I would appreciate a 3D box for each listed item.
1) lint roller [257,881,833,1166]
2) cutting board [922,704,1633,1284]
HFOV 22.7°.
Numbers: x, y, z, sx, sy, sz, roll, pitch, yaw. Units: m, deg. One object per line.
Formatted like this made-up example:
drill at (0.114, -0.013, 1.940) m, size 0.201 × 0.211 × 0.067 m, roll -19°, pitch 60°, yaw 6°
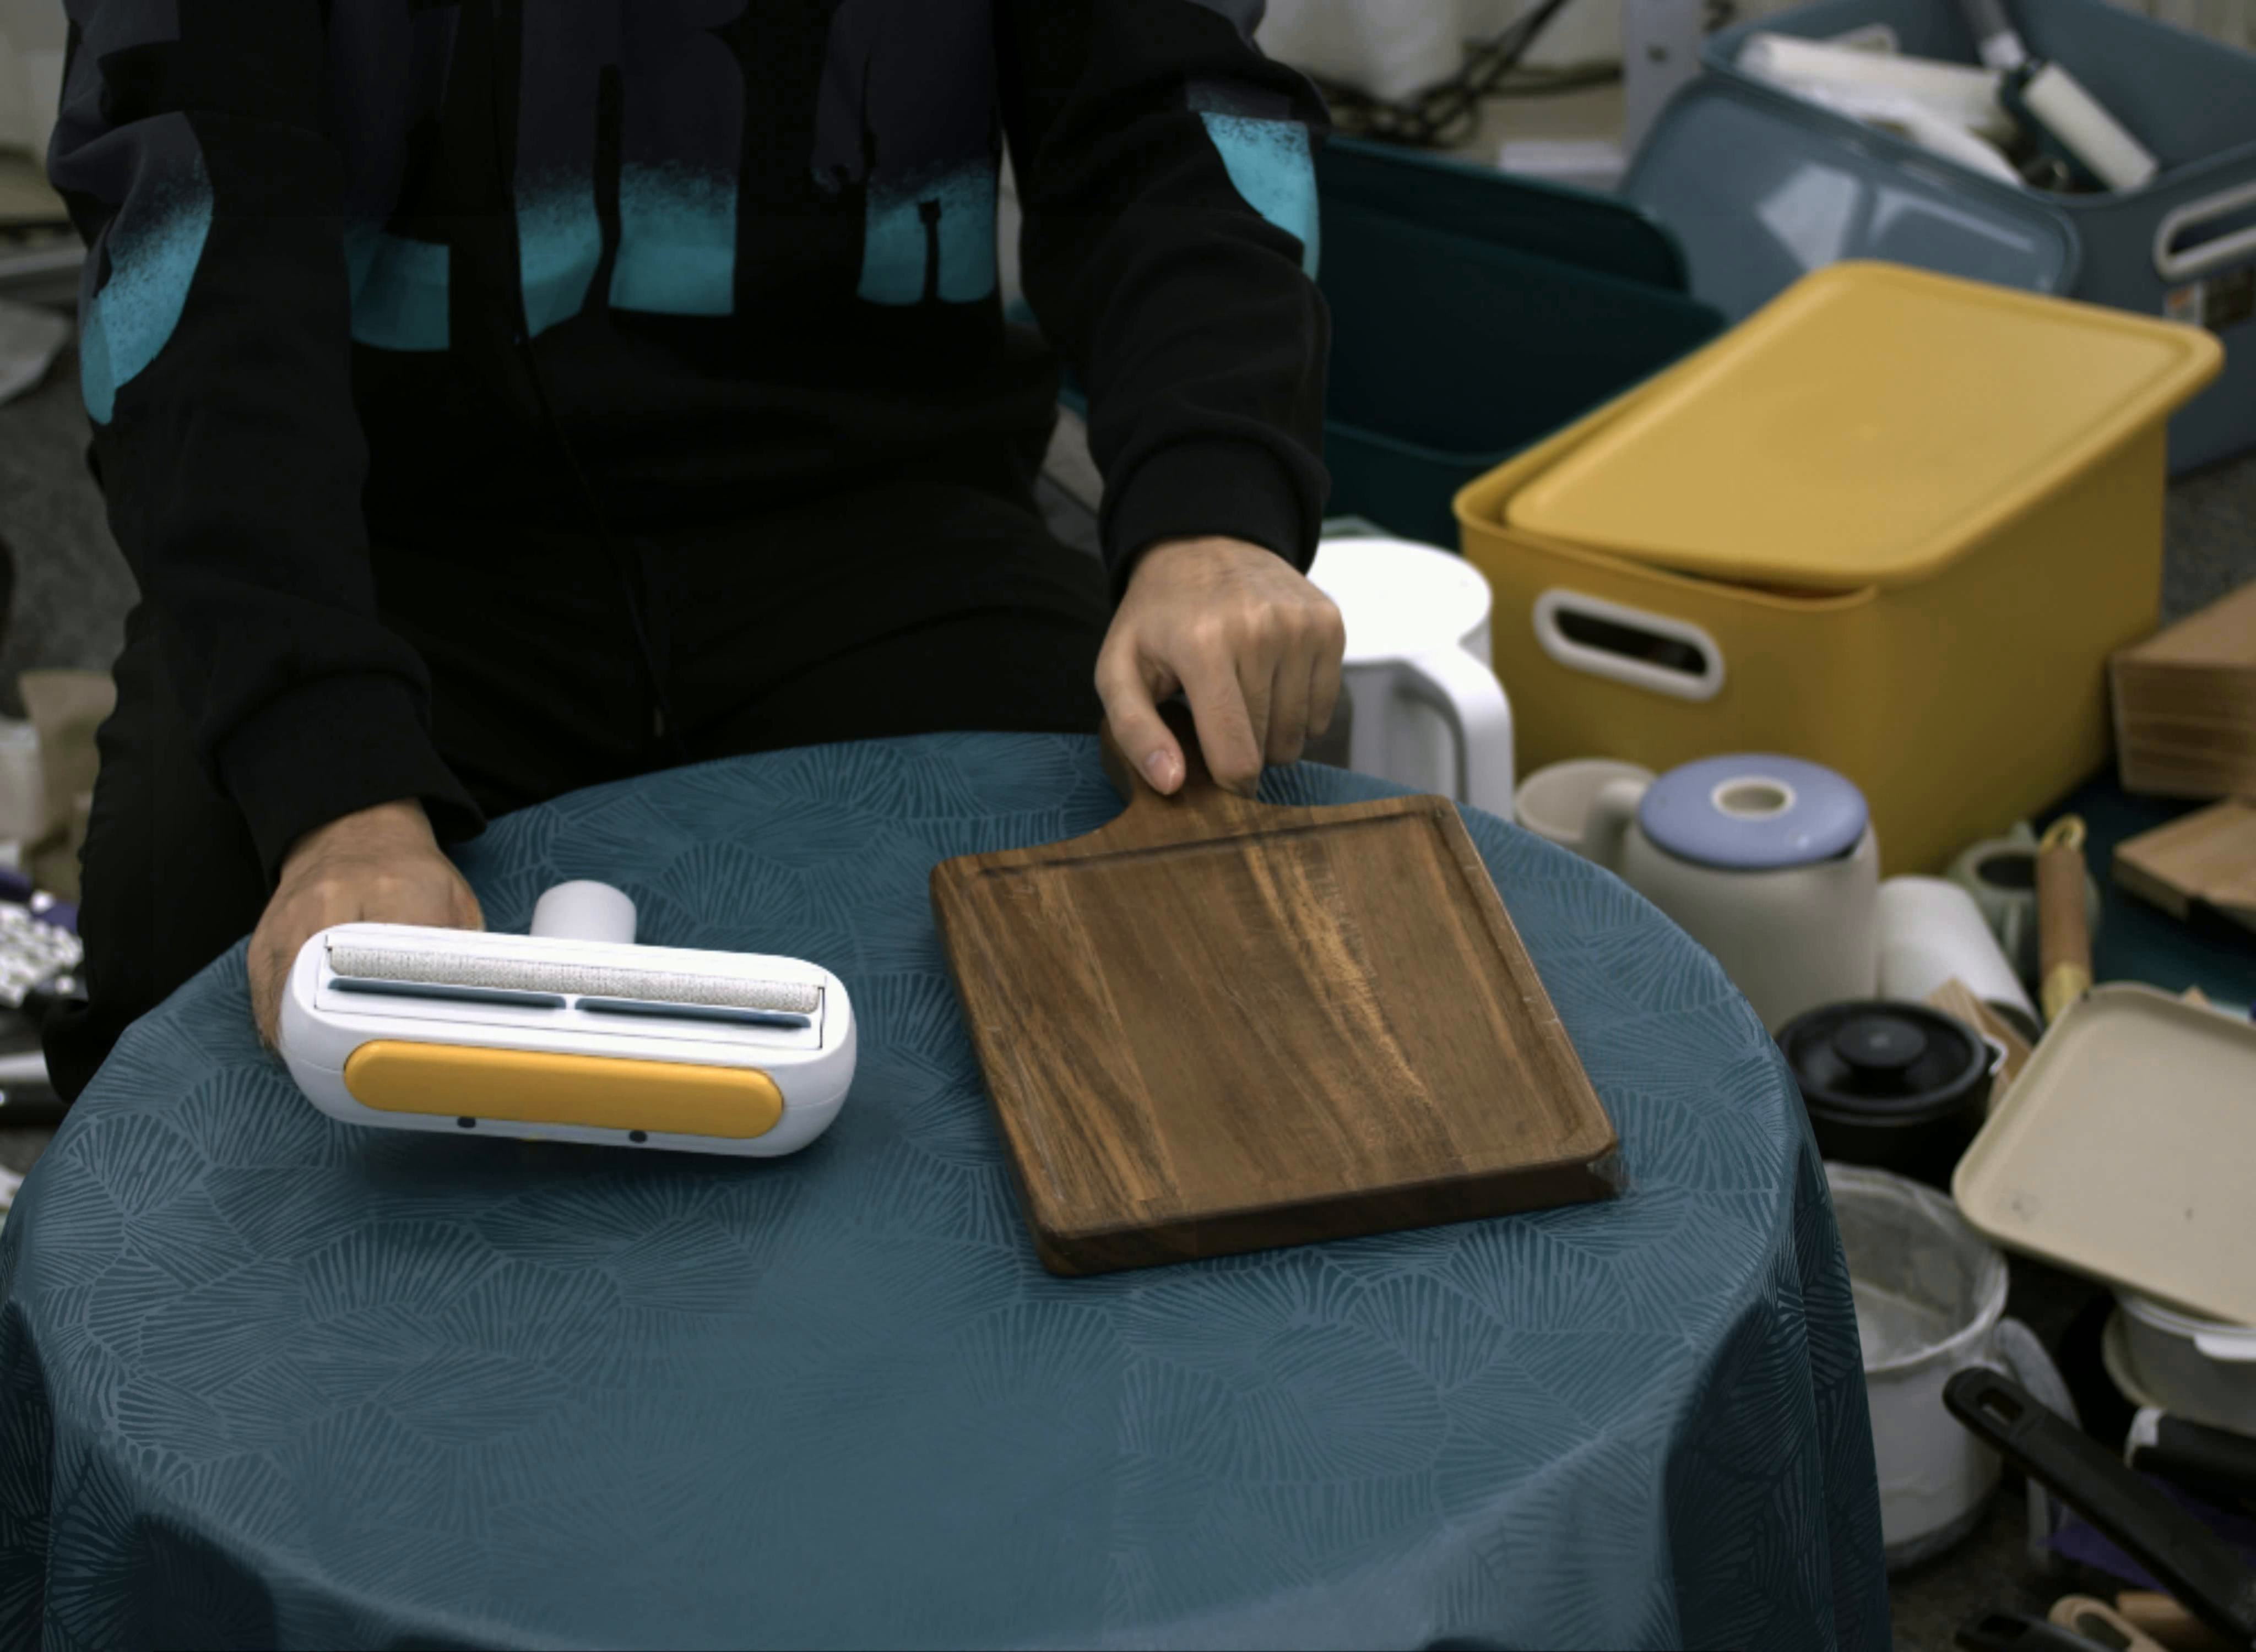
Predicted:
lint roller at (-0.194, 0.053, 1.940) m, size 0.192 × 0.073 × 0.195 m, roll 3°, pitch 26°, yaw 0°
cutting board at (0.036, 0.045, 1.973) m, size 0.201 × 0.023 × 0.356 m, roll -8°, pitch 29°, yaw -8°
